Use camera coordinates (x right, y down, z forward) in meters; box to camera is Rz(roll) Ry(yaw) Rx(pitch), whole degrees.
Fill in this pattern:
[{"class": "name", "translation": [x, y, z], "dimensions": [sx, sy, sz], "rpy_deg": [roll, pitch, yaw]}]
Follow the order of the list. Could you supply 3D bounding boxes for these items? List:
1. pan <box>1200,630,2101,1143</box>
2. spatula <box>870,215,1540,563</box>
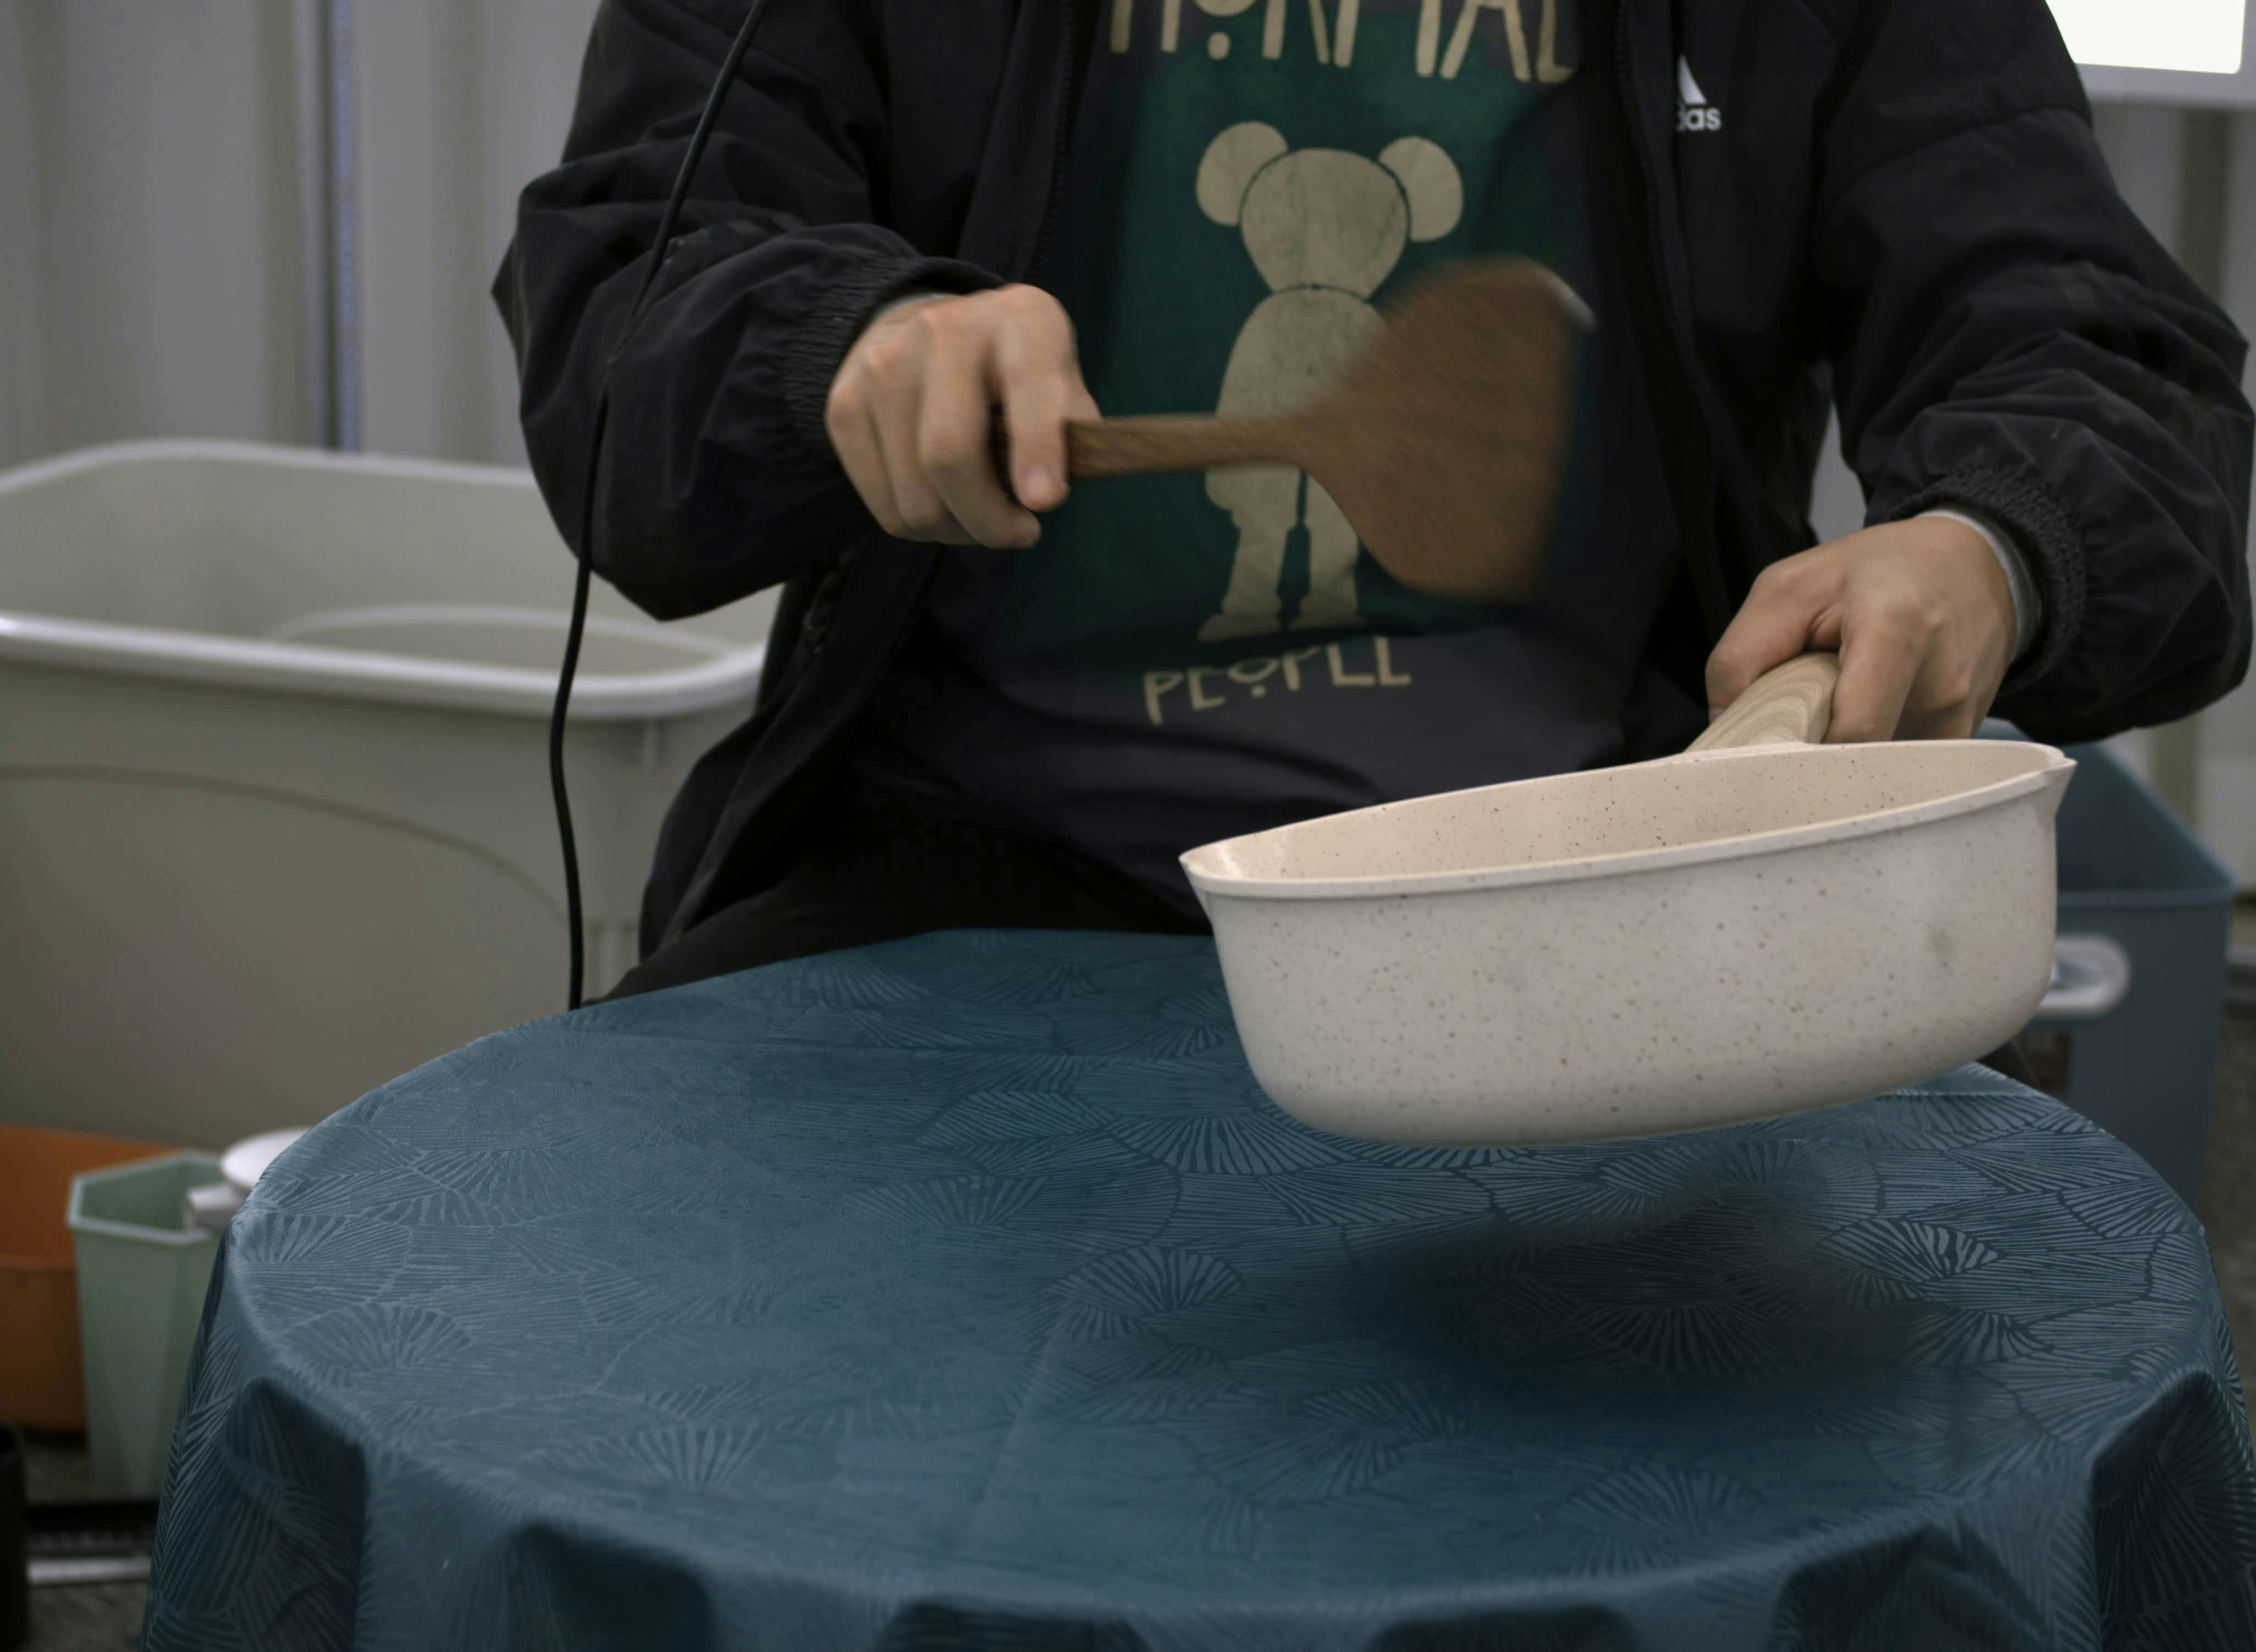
[{"class": "pan", "translation": [0.182, 0.012, 1.586], "dimensions": [0.261, 0.102, 0.436], "rpy_deg": [-8, 5, 20]}, {"class": "spatula", "translation": [0.014, -0.122, 1.594], "dimensions": [0.016, 0.096, 0.382], "rpy_deg": [4, -1, -30]}]
